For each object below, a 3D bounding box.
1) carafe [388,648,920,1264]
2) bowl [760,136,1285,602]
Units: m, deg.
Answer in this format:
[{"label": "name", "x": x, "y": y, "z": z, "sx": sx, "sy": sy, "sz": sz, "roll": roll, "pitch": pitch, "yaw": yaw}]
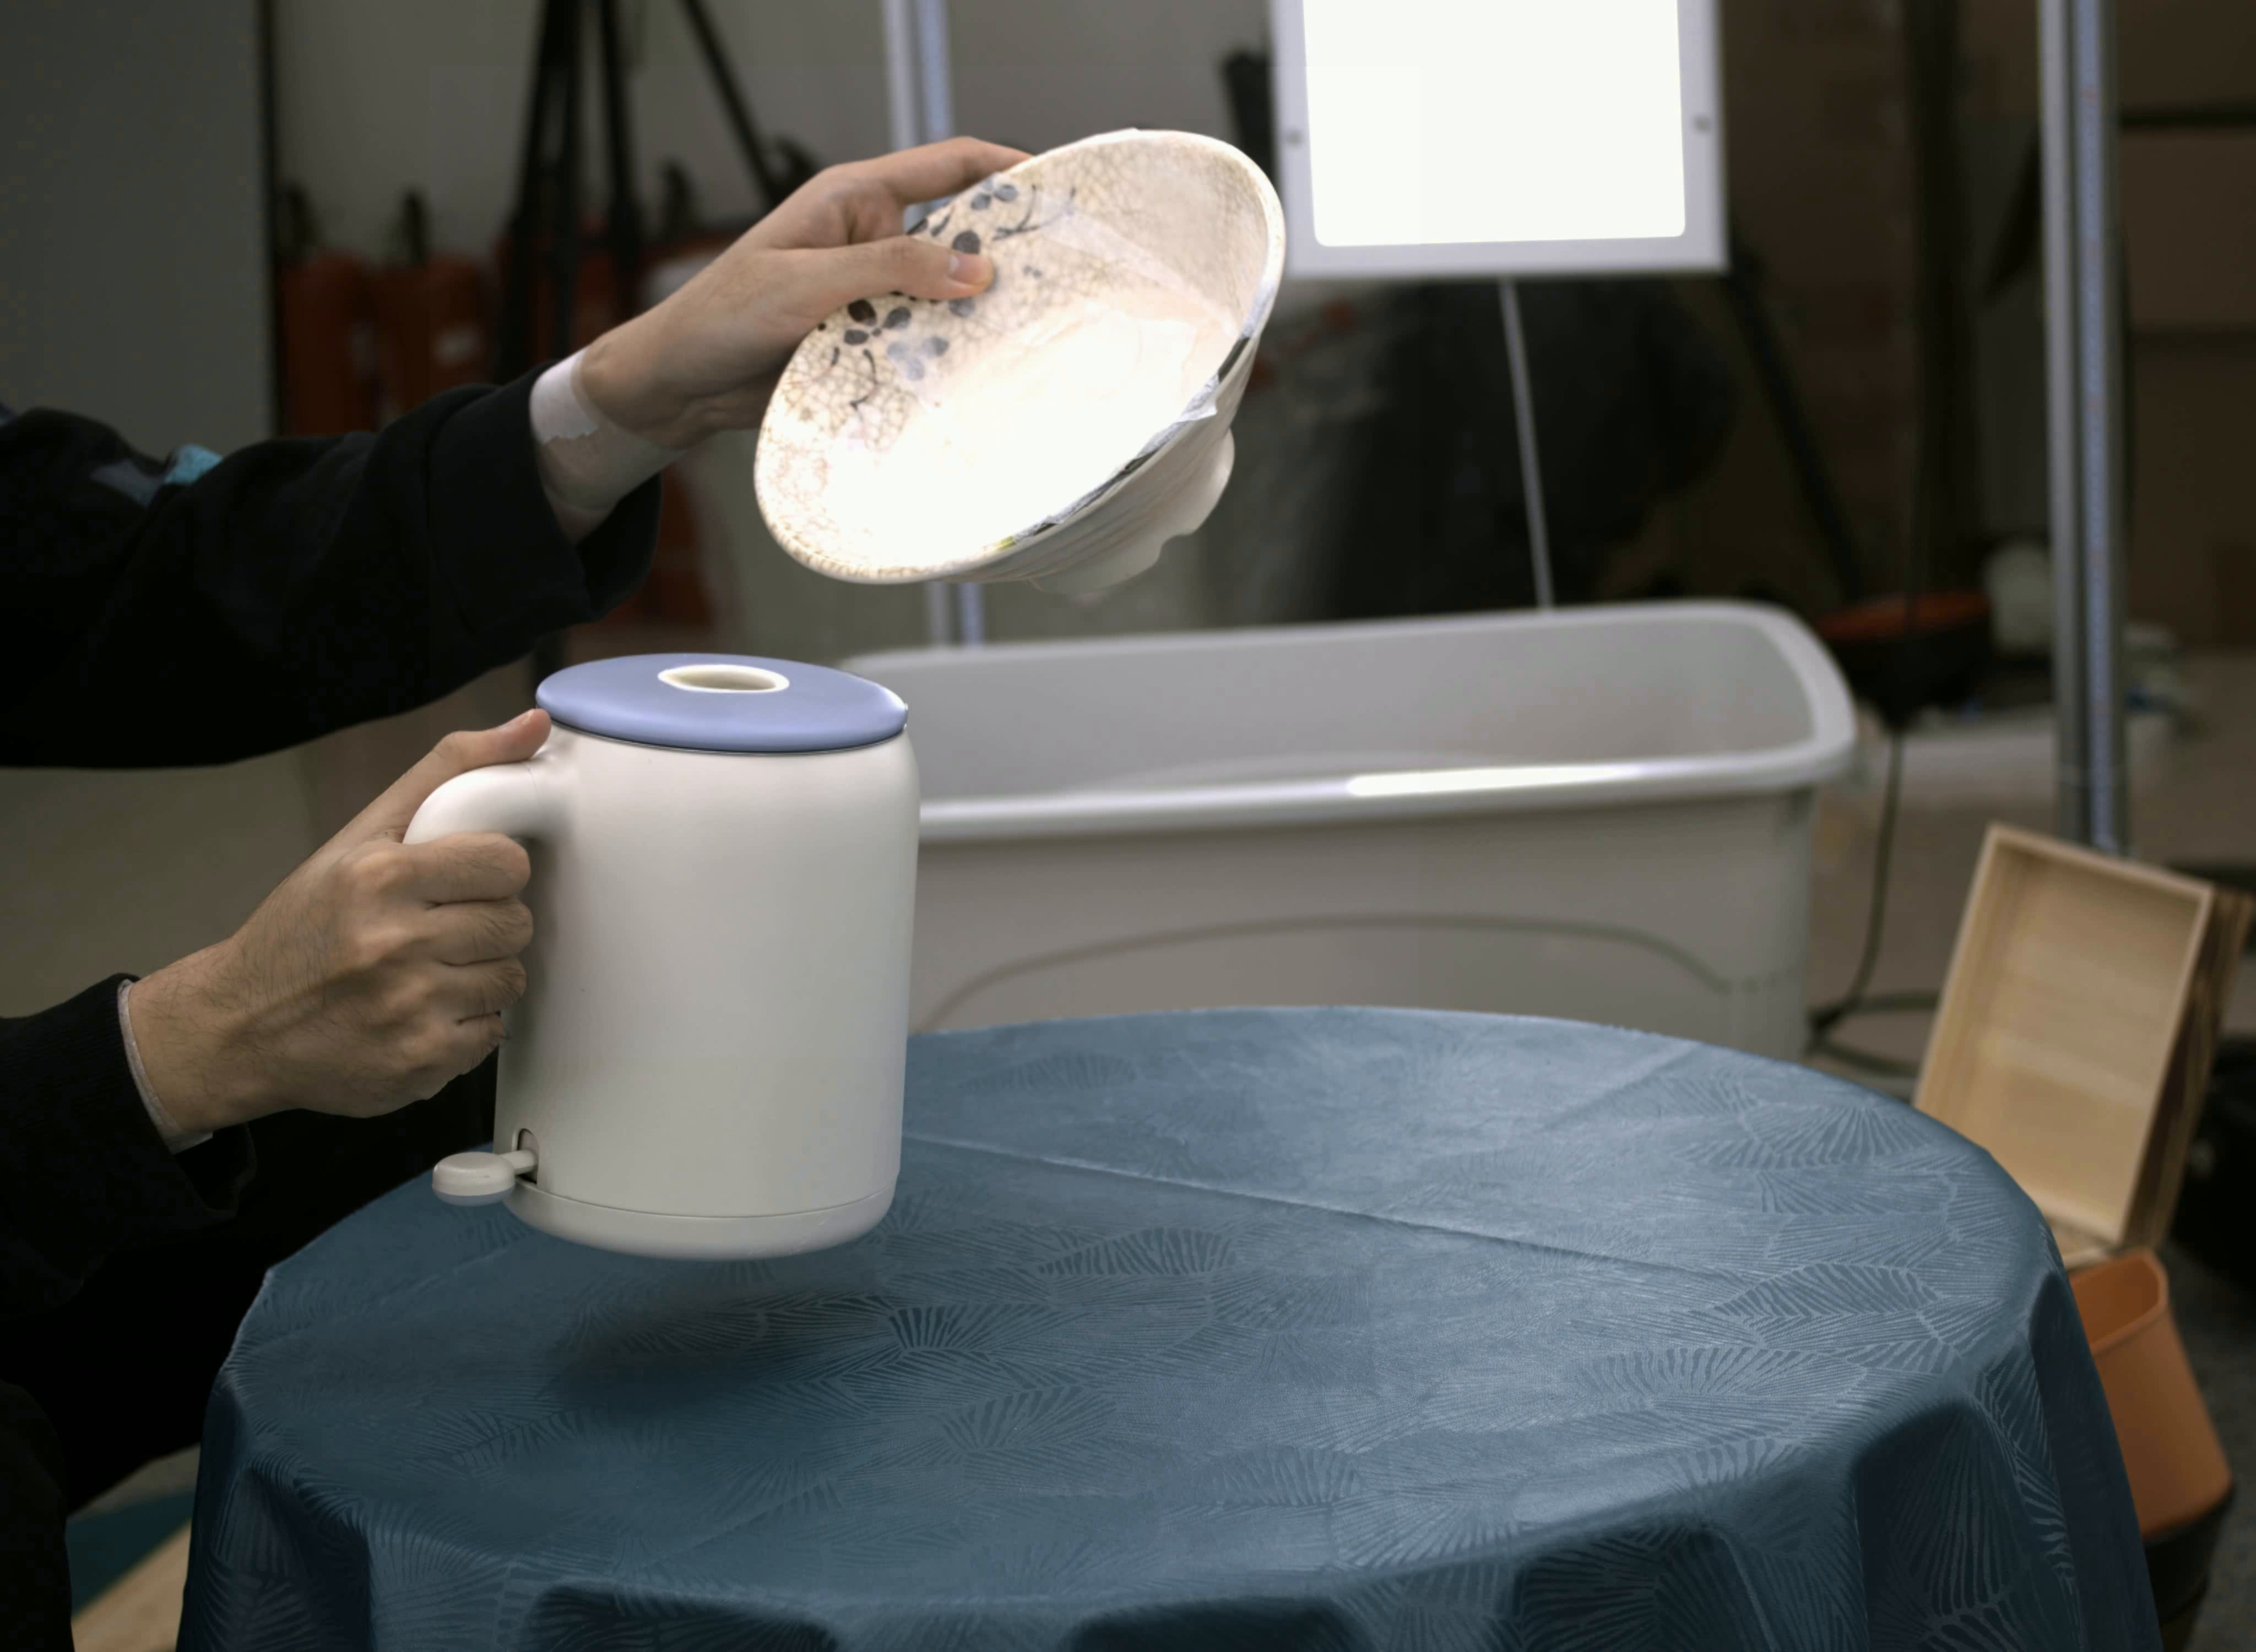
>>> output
[{"label": "carafe", "x": -0.152, "y": 0.043, "z": 1.748, "sx": 0.186, "sy": 0.183, "sz": 0.135, "roll": -10, "pitch": 17, "yaw": -36}, {"label": "bowl", "x": -0.018, "y": -0.133, "z": 1.839, "sx": 0.207, "sy": 0.077, "sz": 0.203, "roll": -27, "pitch": 36, "yaw": 19}]
